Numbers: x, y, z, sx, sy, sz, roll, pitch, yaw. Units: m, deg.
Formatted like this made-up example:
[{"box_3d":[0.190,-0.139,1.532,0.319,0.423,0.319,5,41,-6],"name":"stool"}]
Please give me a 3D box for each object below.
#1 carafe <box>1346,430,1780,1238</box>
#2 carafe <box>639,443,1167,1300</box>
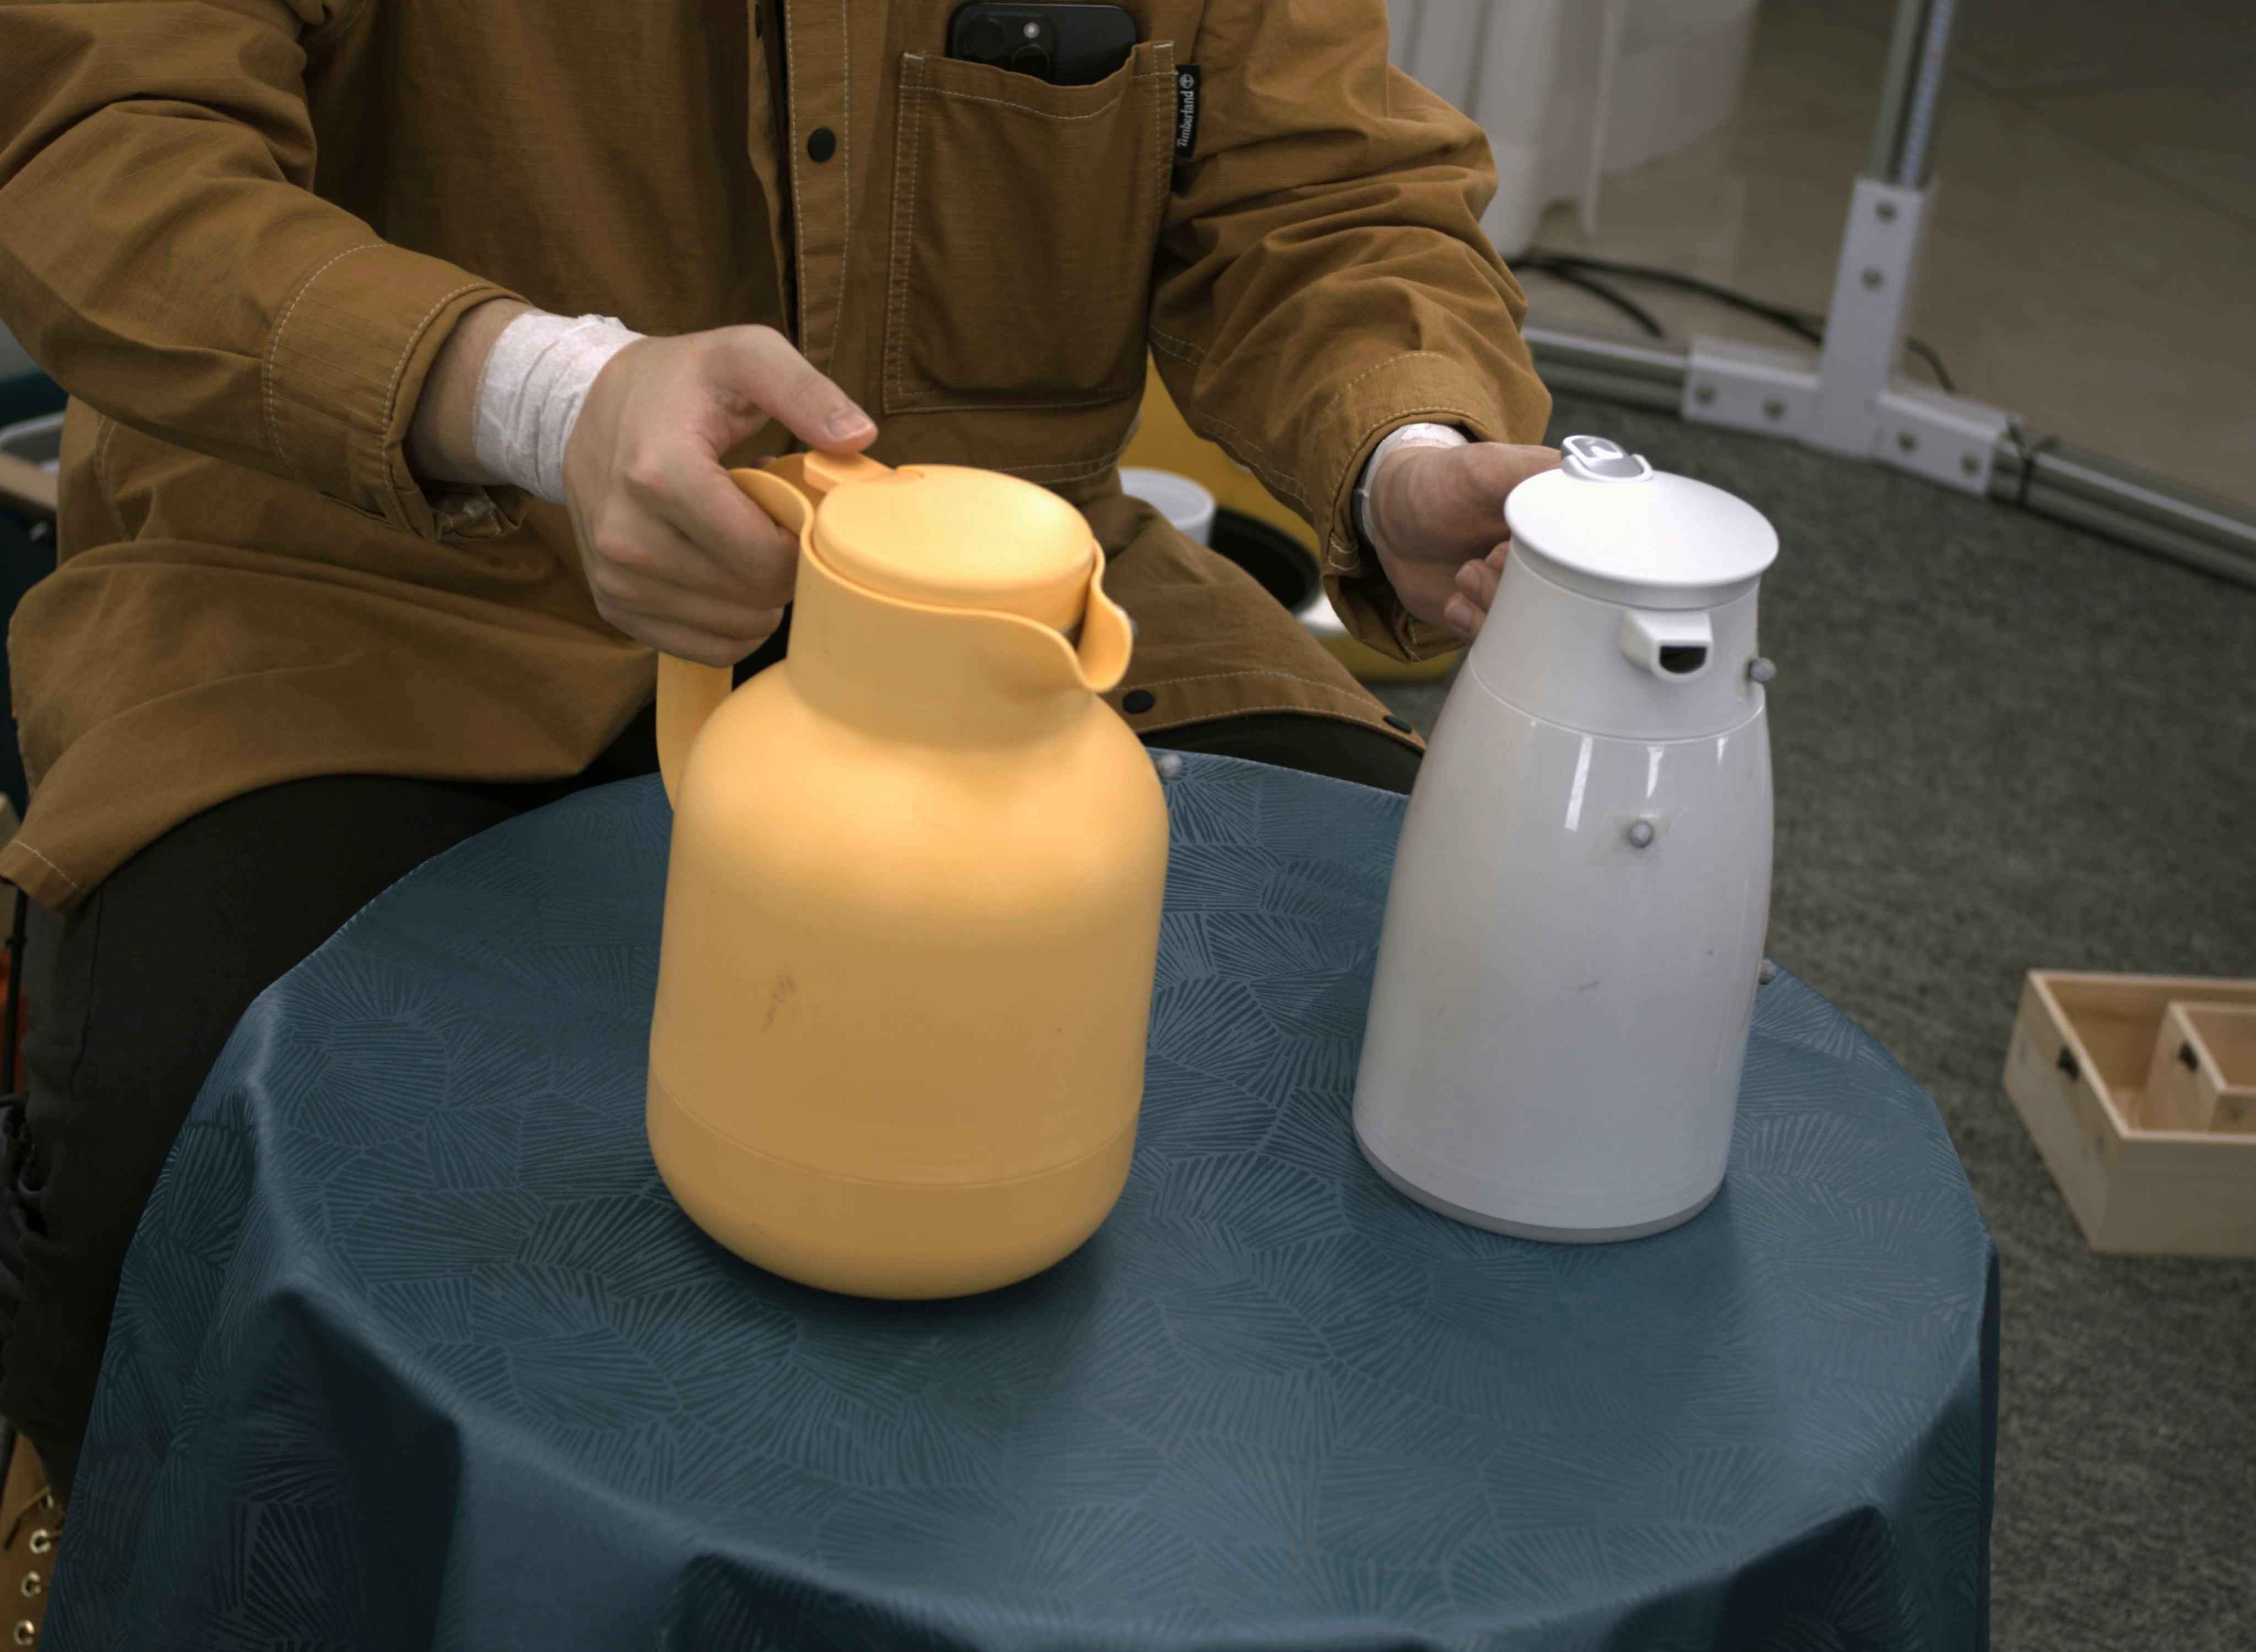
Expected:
[{"box_3d":[0.151,-0.008,1.823,0.132,0.248,0.169,1,27,-13],"name":"carafe"},{"box_3d":[-0.080,0.005,1.735,0.162,0.260,0.204,-14,34,-40],"name":"carafe"}]
